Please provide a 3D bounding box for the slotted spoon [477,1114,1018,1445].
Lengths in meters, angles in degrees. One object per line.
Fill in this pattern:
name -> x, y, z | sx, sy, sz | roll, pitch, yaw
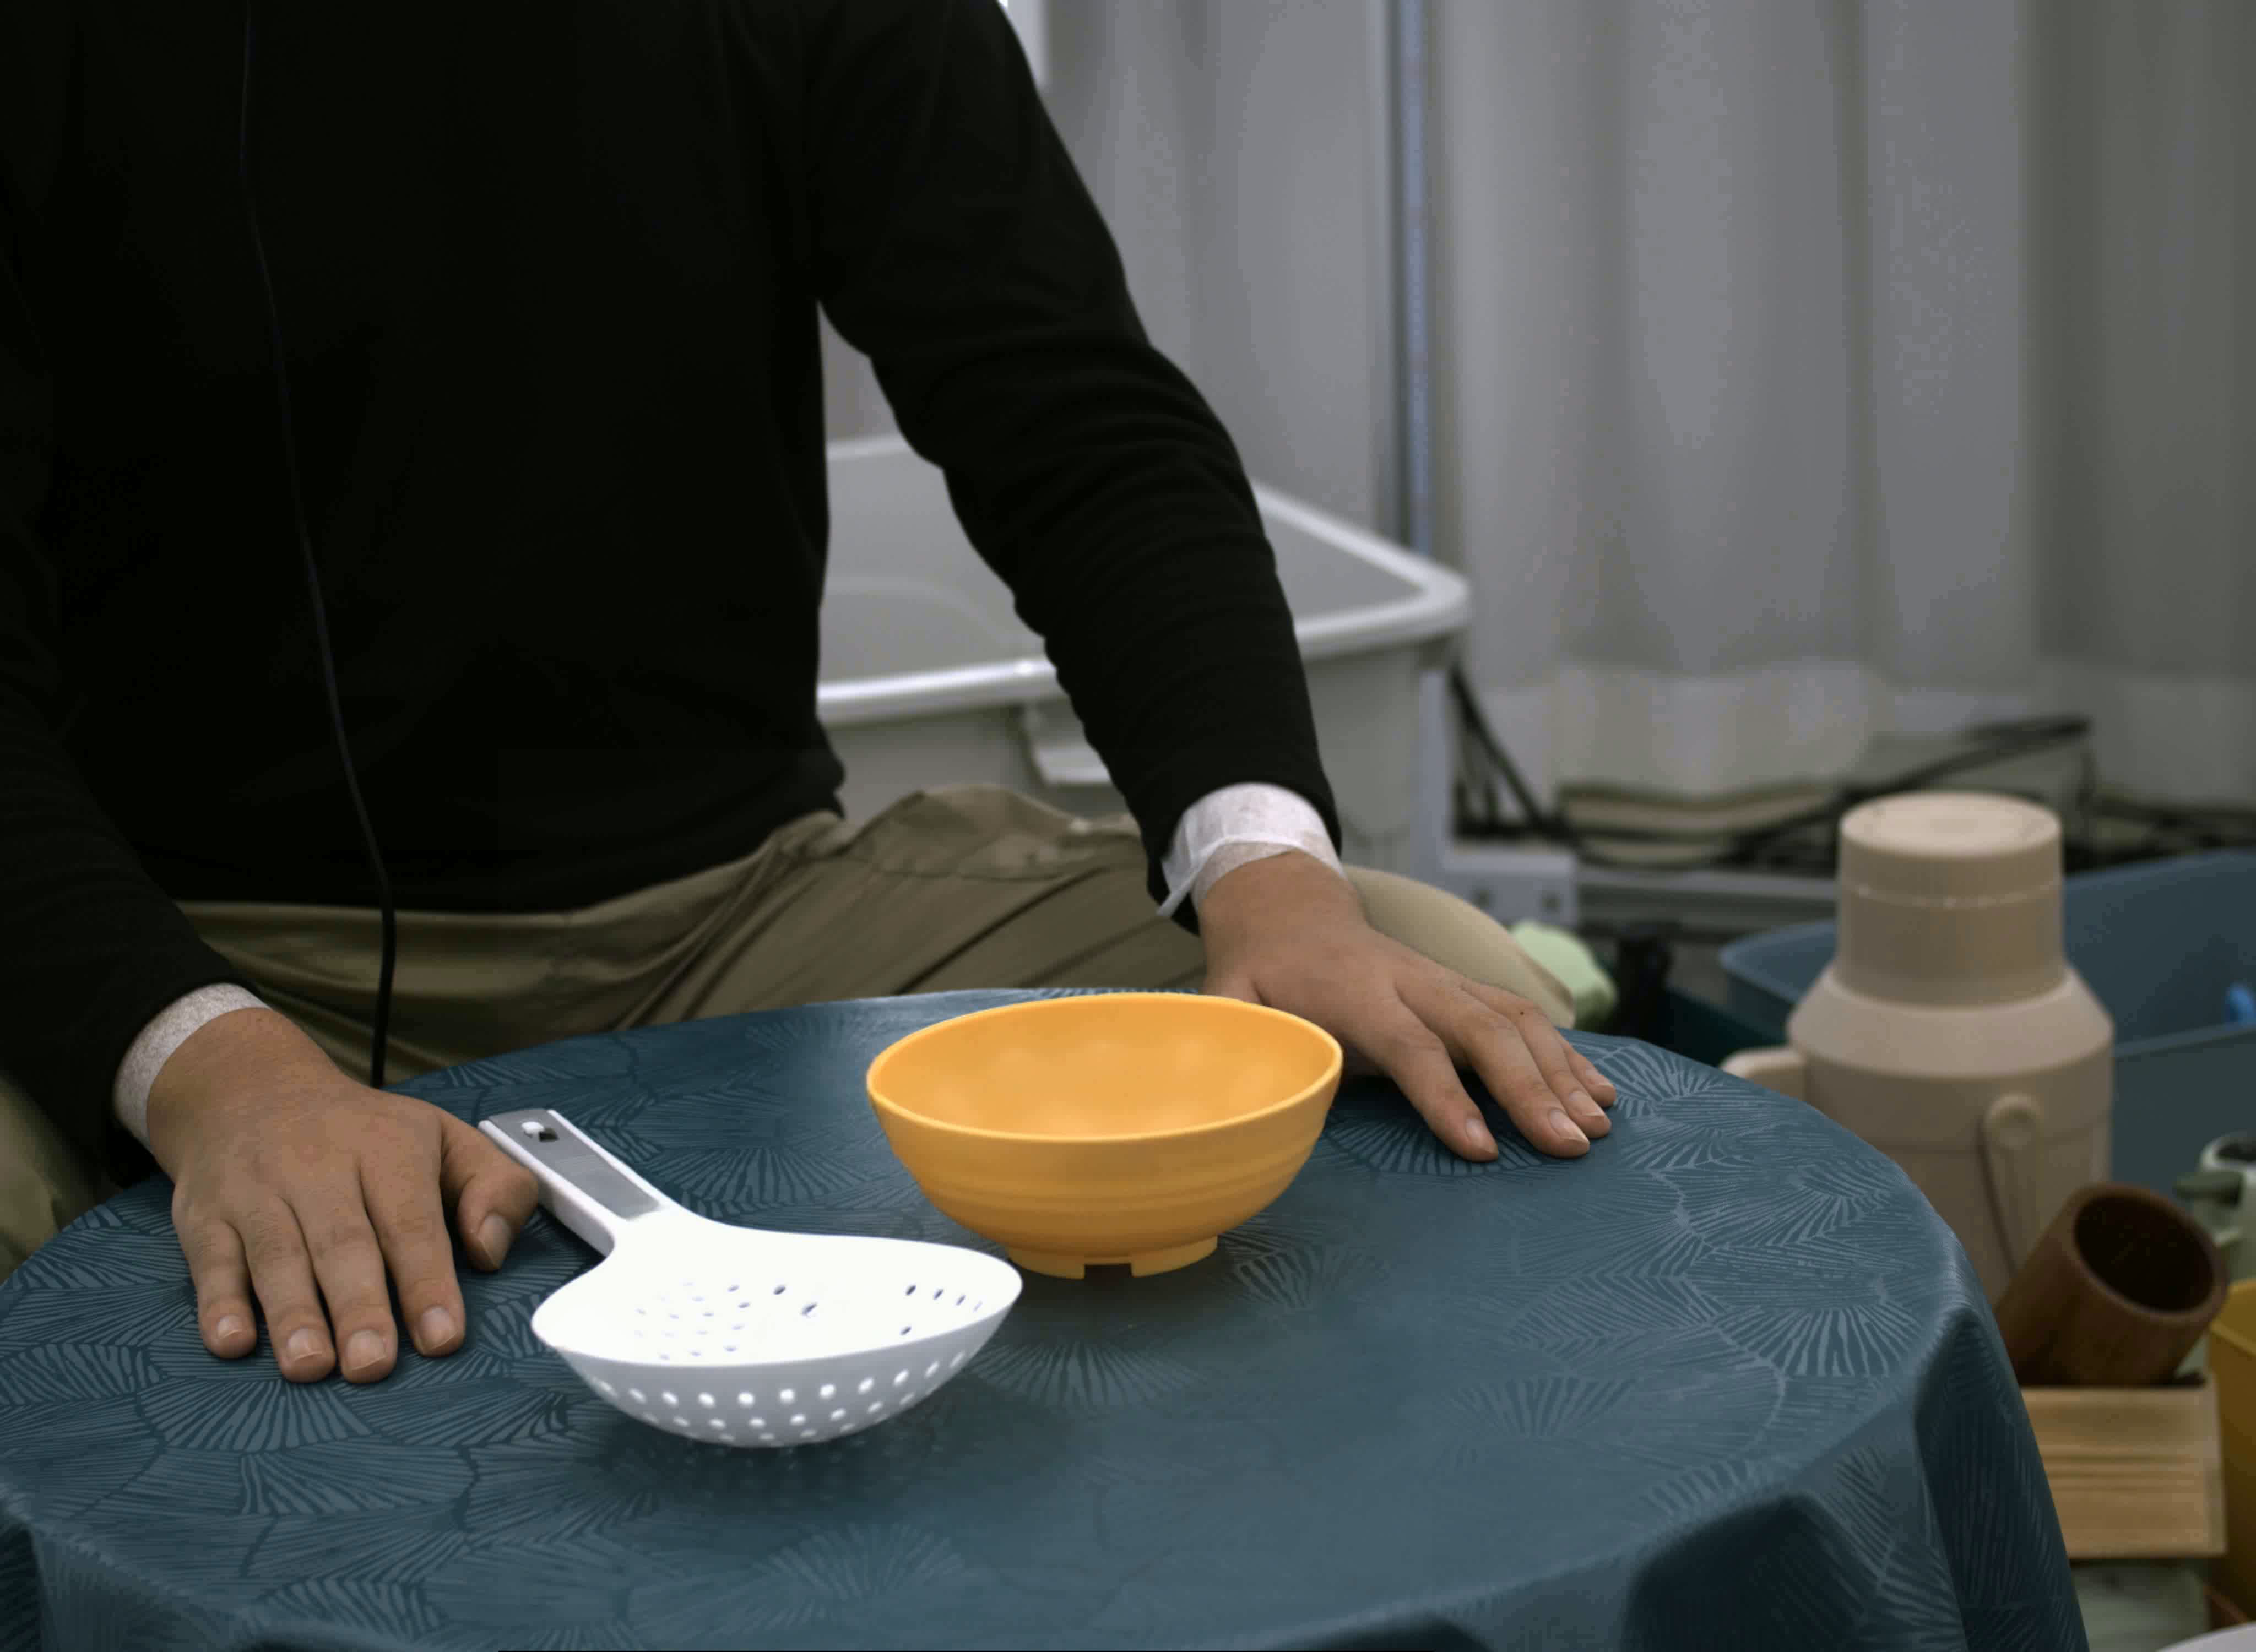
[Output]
slotted spoon -> -0.137, 0.124, 1.616 | 0.135, 0.045, 0.352 | -8, 15, -20

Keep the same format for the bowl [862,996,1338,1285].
bowl -> -0.008, 0.101, 1.660 | 0.145, 0.060, 0.146 | -1, 15, 0
